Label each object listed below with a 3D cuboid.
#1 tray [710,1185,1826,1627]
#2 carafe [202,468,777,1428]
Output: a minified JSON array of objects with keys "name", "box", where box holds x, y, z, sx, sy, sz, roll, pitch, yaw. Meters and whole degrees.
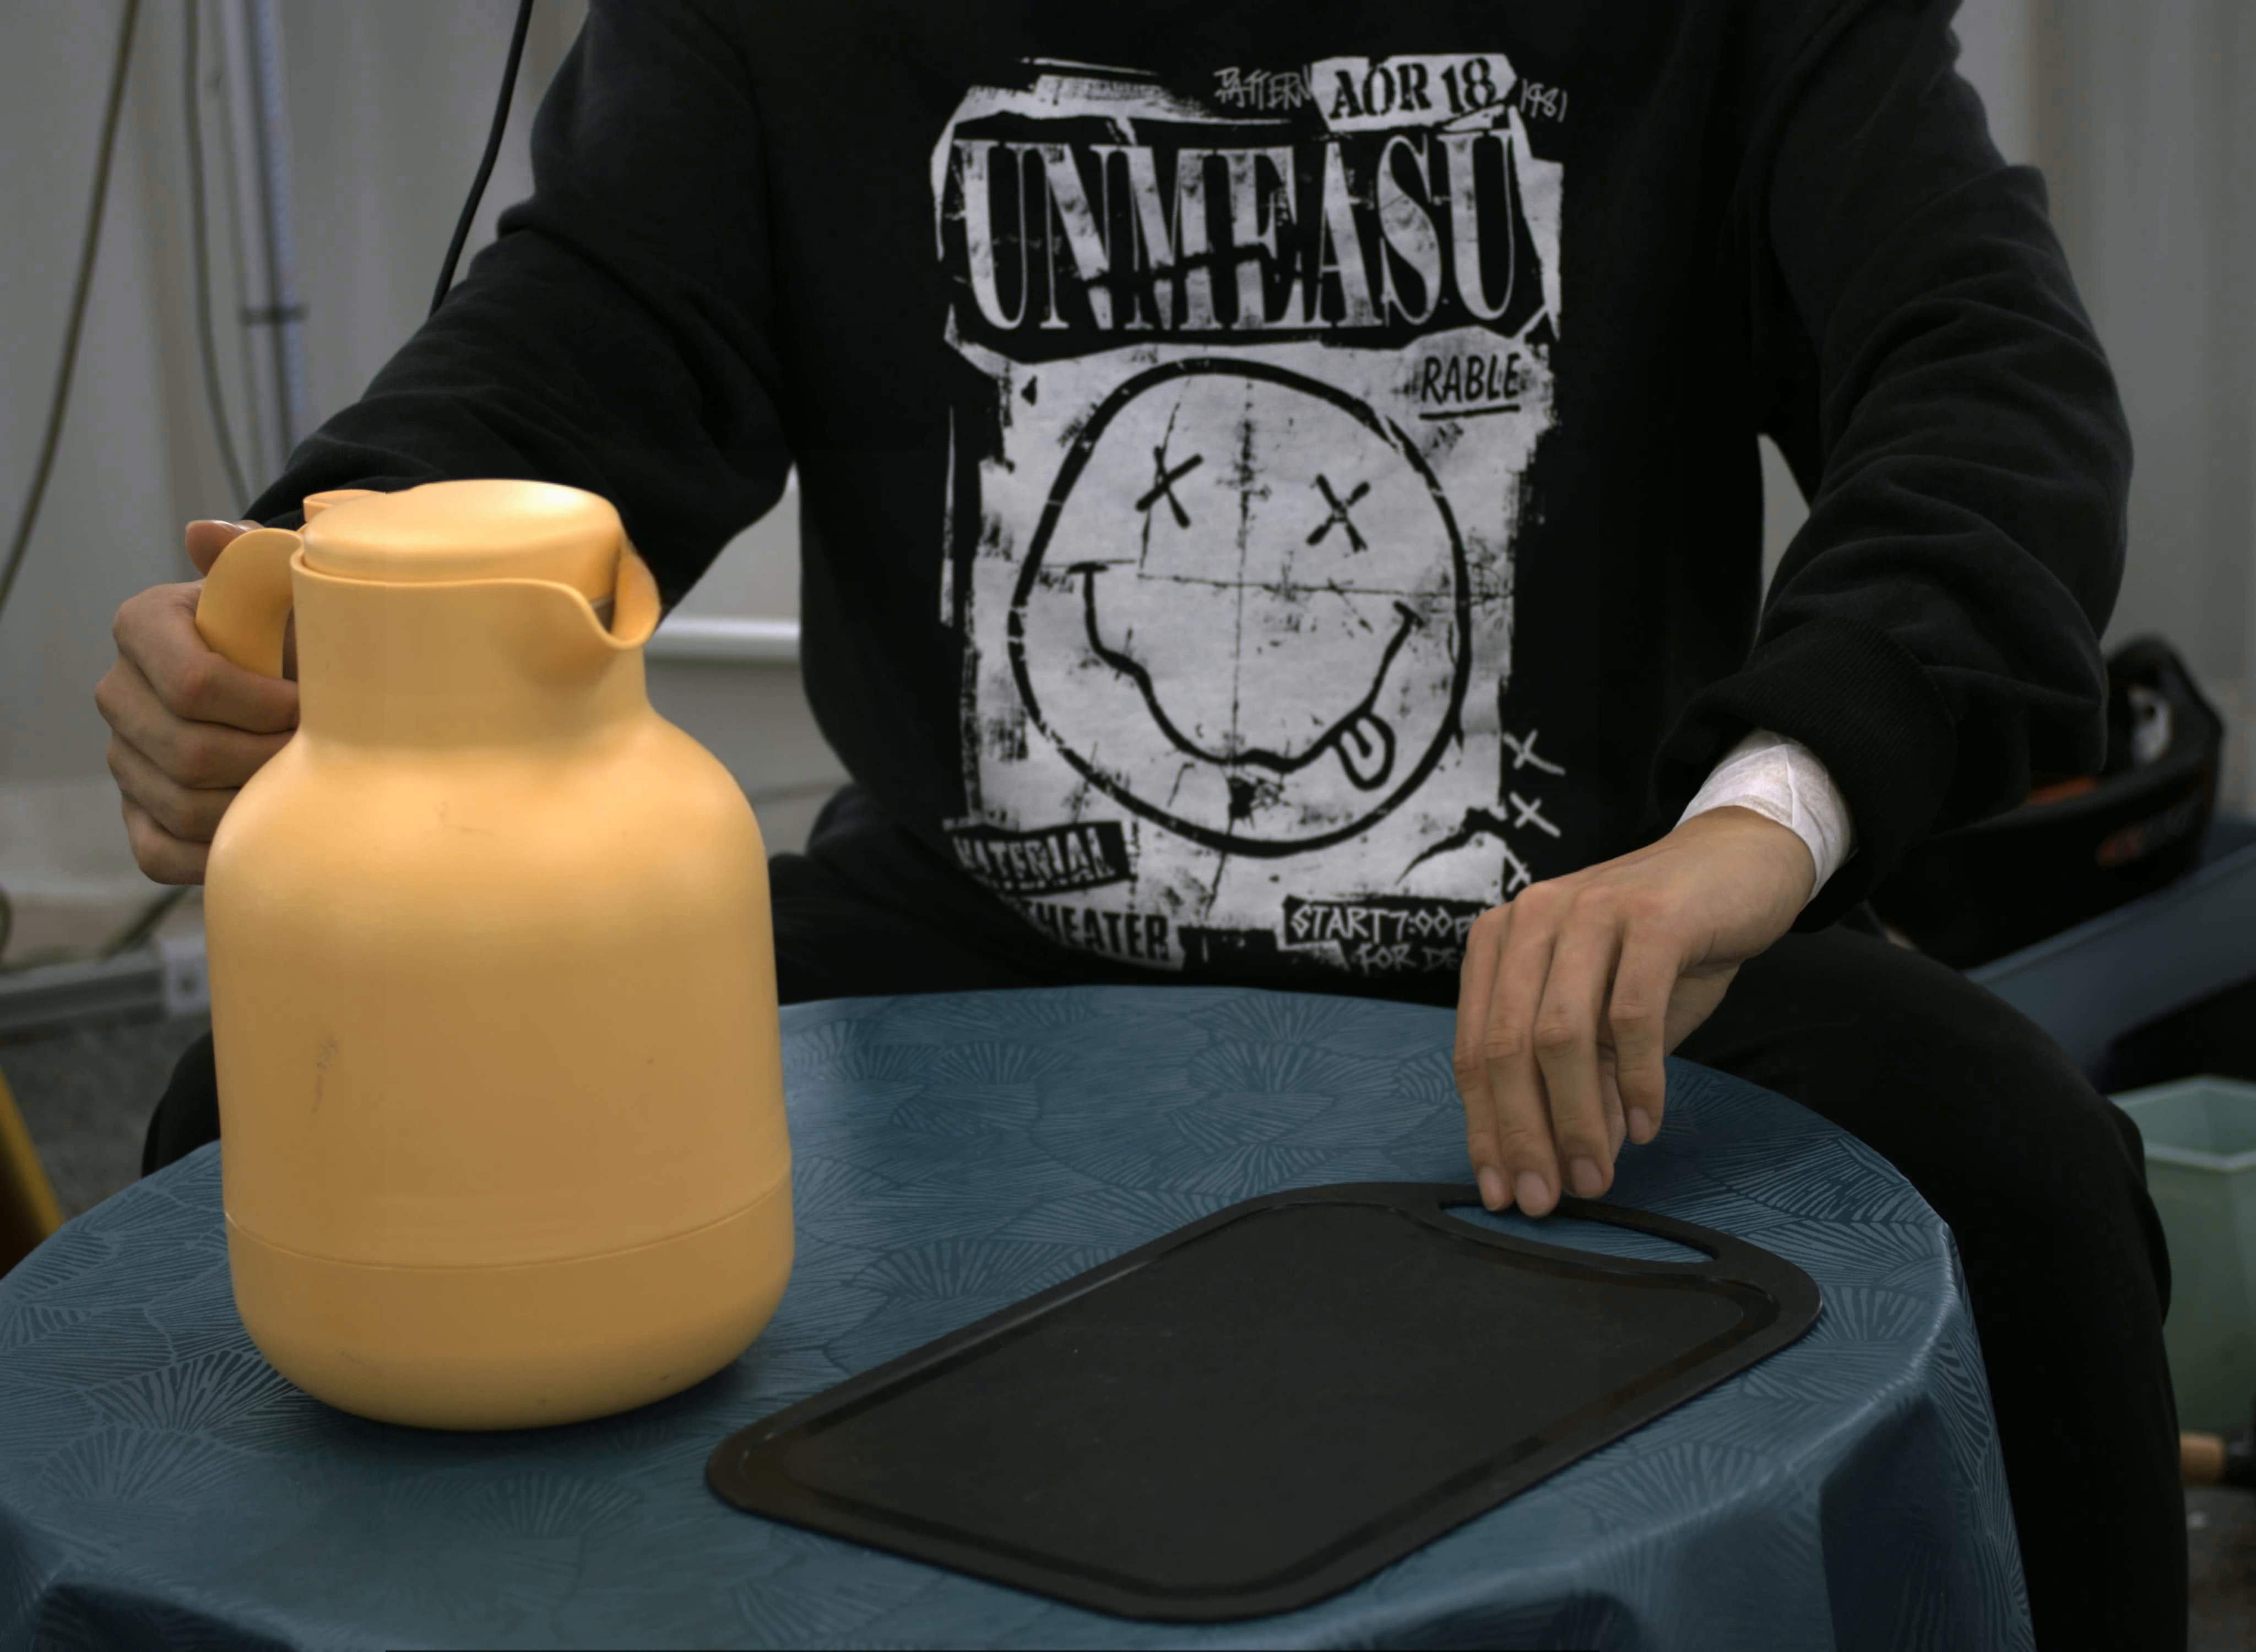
[{"name":"tray","box":[0.048,0.154,1.546,0.212,0.010,0.325,10,19,39]},{"name":"carafe","box":[-0.194,0.027,1.574,0.163,0.259,0.204,-11,18,-40]}]
